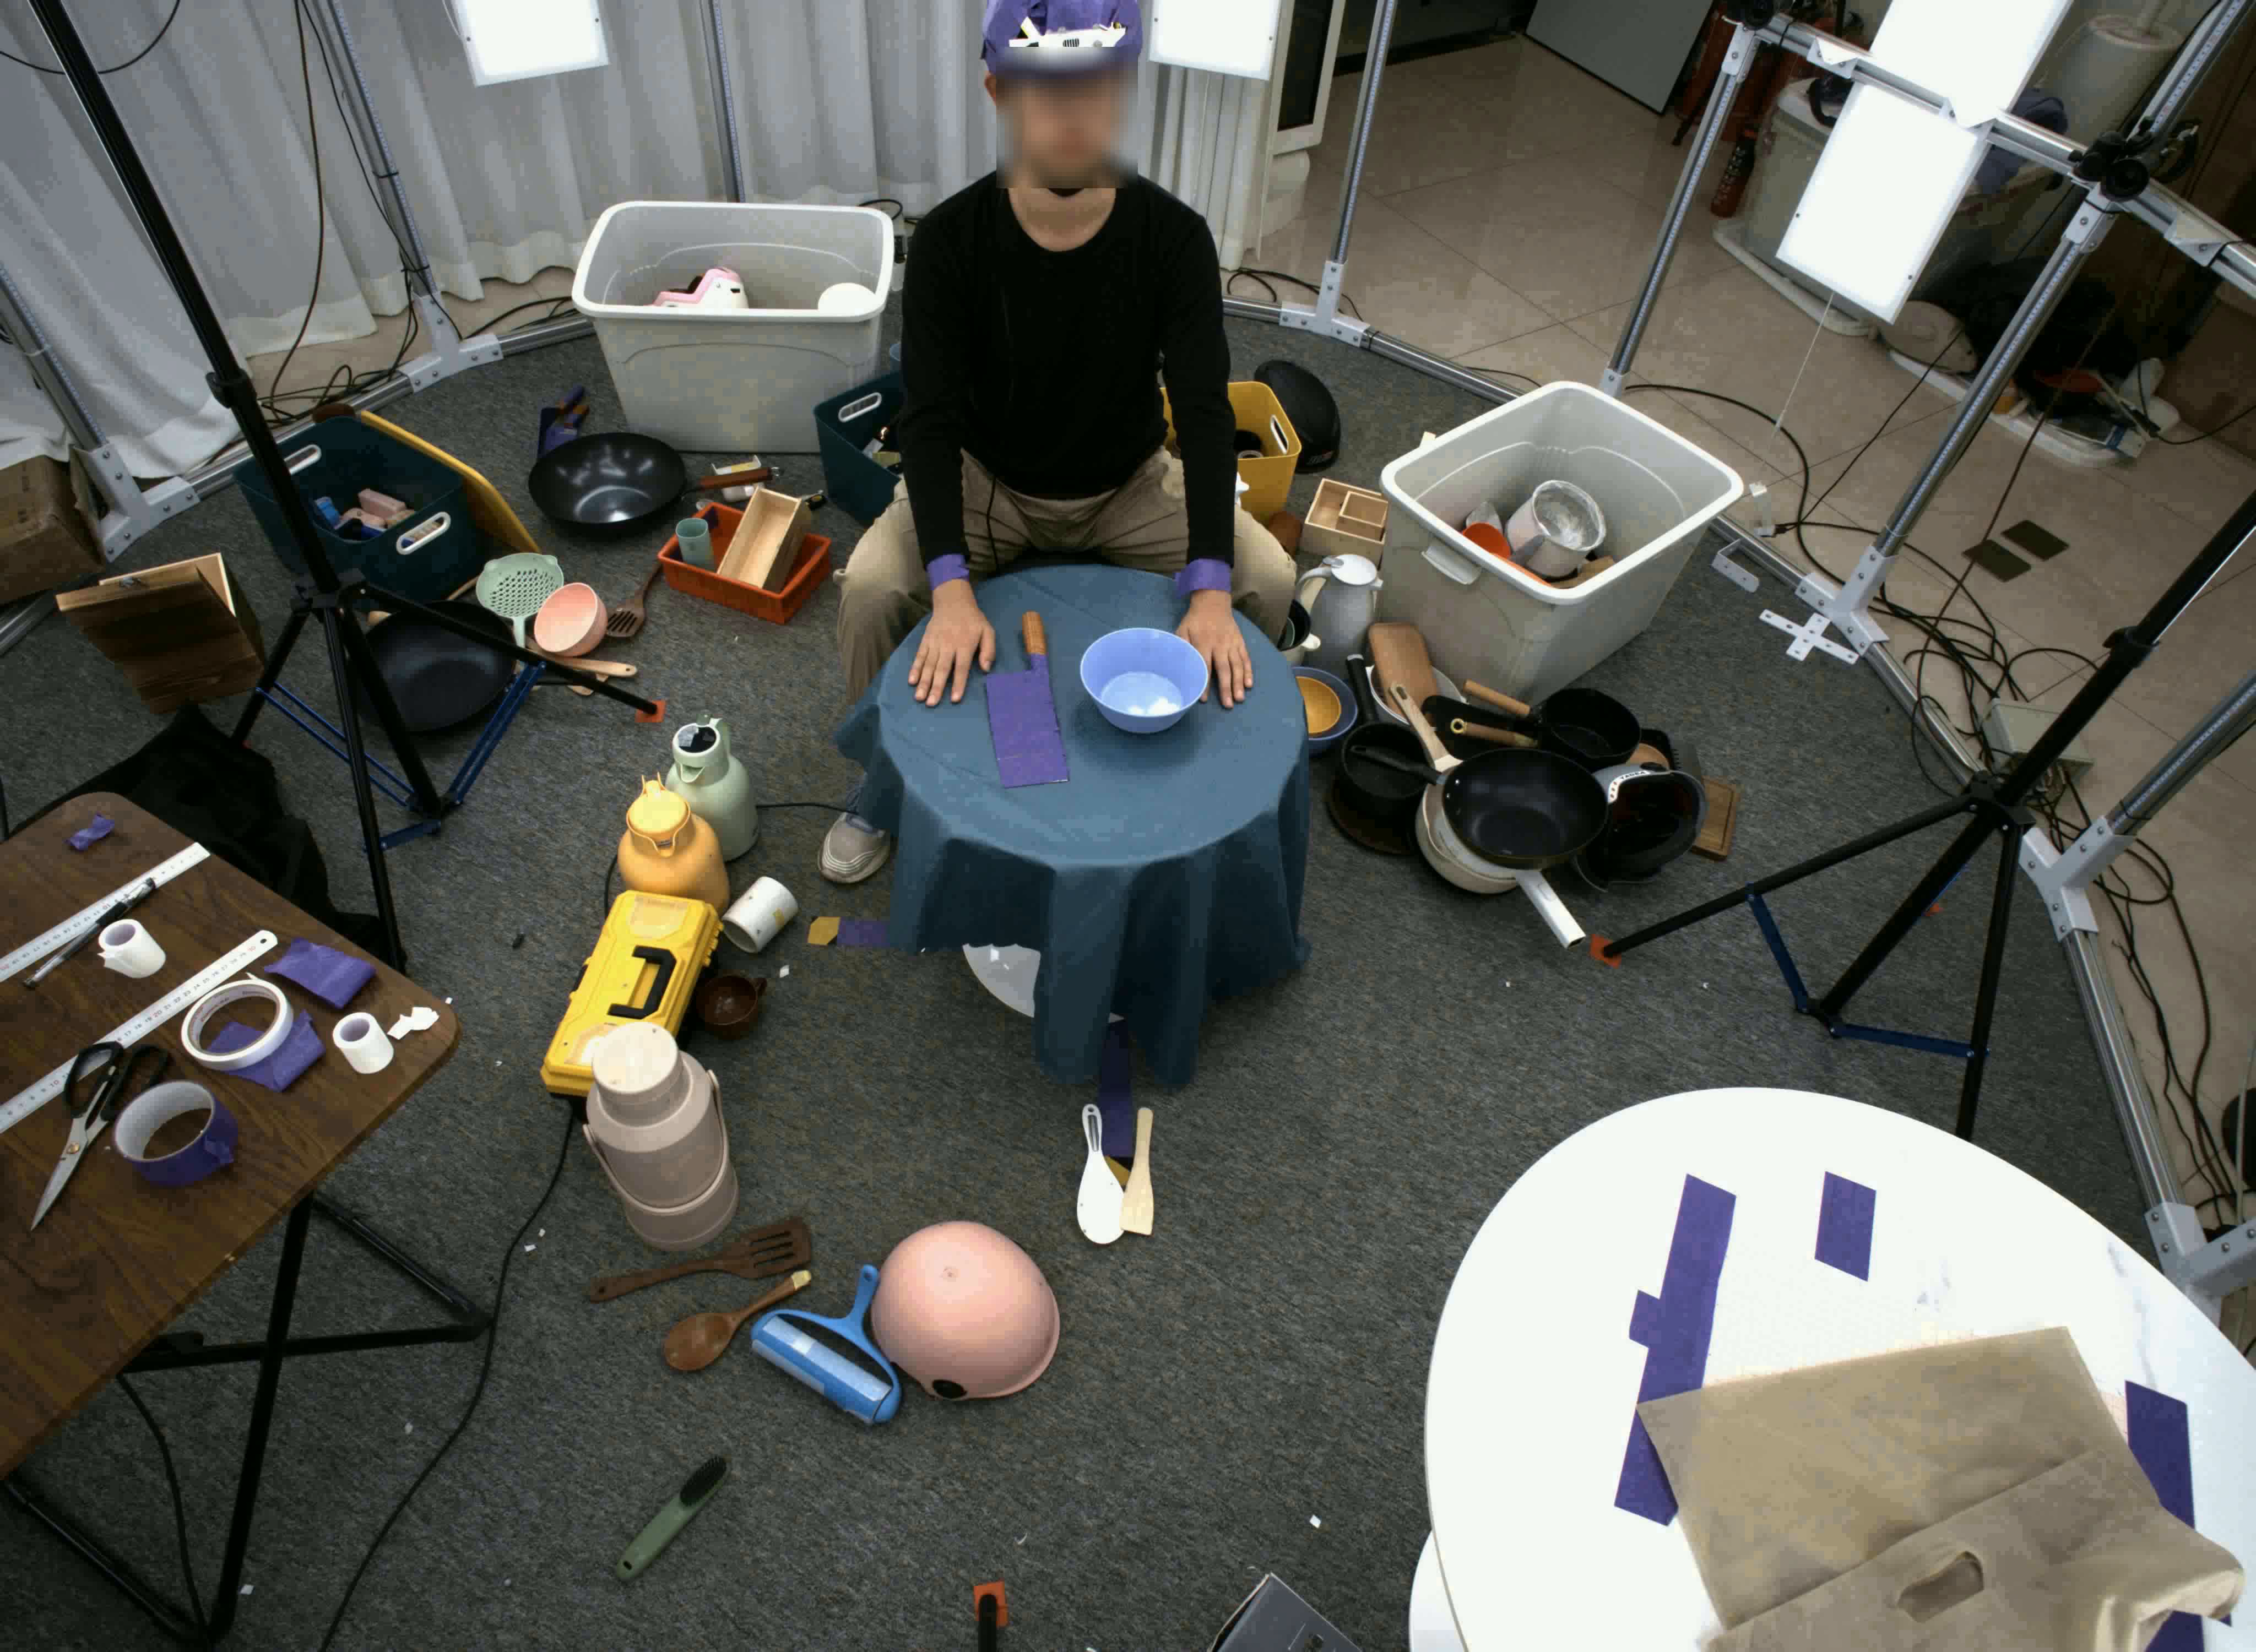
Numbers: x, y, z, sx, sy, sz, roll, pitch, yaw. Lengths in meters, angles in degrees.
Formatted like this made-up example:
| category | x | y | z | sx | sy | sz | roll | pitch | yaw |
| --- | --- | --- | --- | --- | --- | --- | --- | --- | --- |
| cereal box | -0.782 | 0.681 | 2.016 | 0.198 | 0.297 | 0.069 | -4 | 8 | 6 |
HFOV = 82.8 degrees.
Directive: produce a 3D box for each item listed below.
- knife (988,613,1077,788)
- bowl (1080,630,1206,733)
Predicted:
| category | x | y | z | sx | sy | sz | roll | pitch | yaw |
| --- | --- | --- | --- | --- | --- | --- | --- | --- | --- |
| knife | -0.146 | -0.181 | 1.800 | 0.104 | 0.031 | 0.323 | -6 | 50 | -9 |
| bowl | 0.018 | -0.193 | 1.792 | 0.176 | 0.068 | 0.180 | 2 | 48 | -3 |
